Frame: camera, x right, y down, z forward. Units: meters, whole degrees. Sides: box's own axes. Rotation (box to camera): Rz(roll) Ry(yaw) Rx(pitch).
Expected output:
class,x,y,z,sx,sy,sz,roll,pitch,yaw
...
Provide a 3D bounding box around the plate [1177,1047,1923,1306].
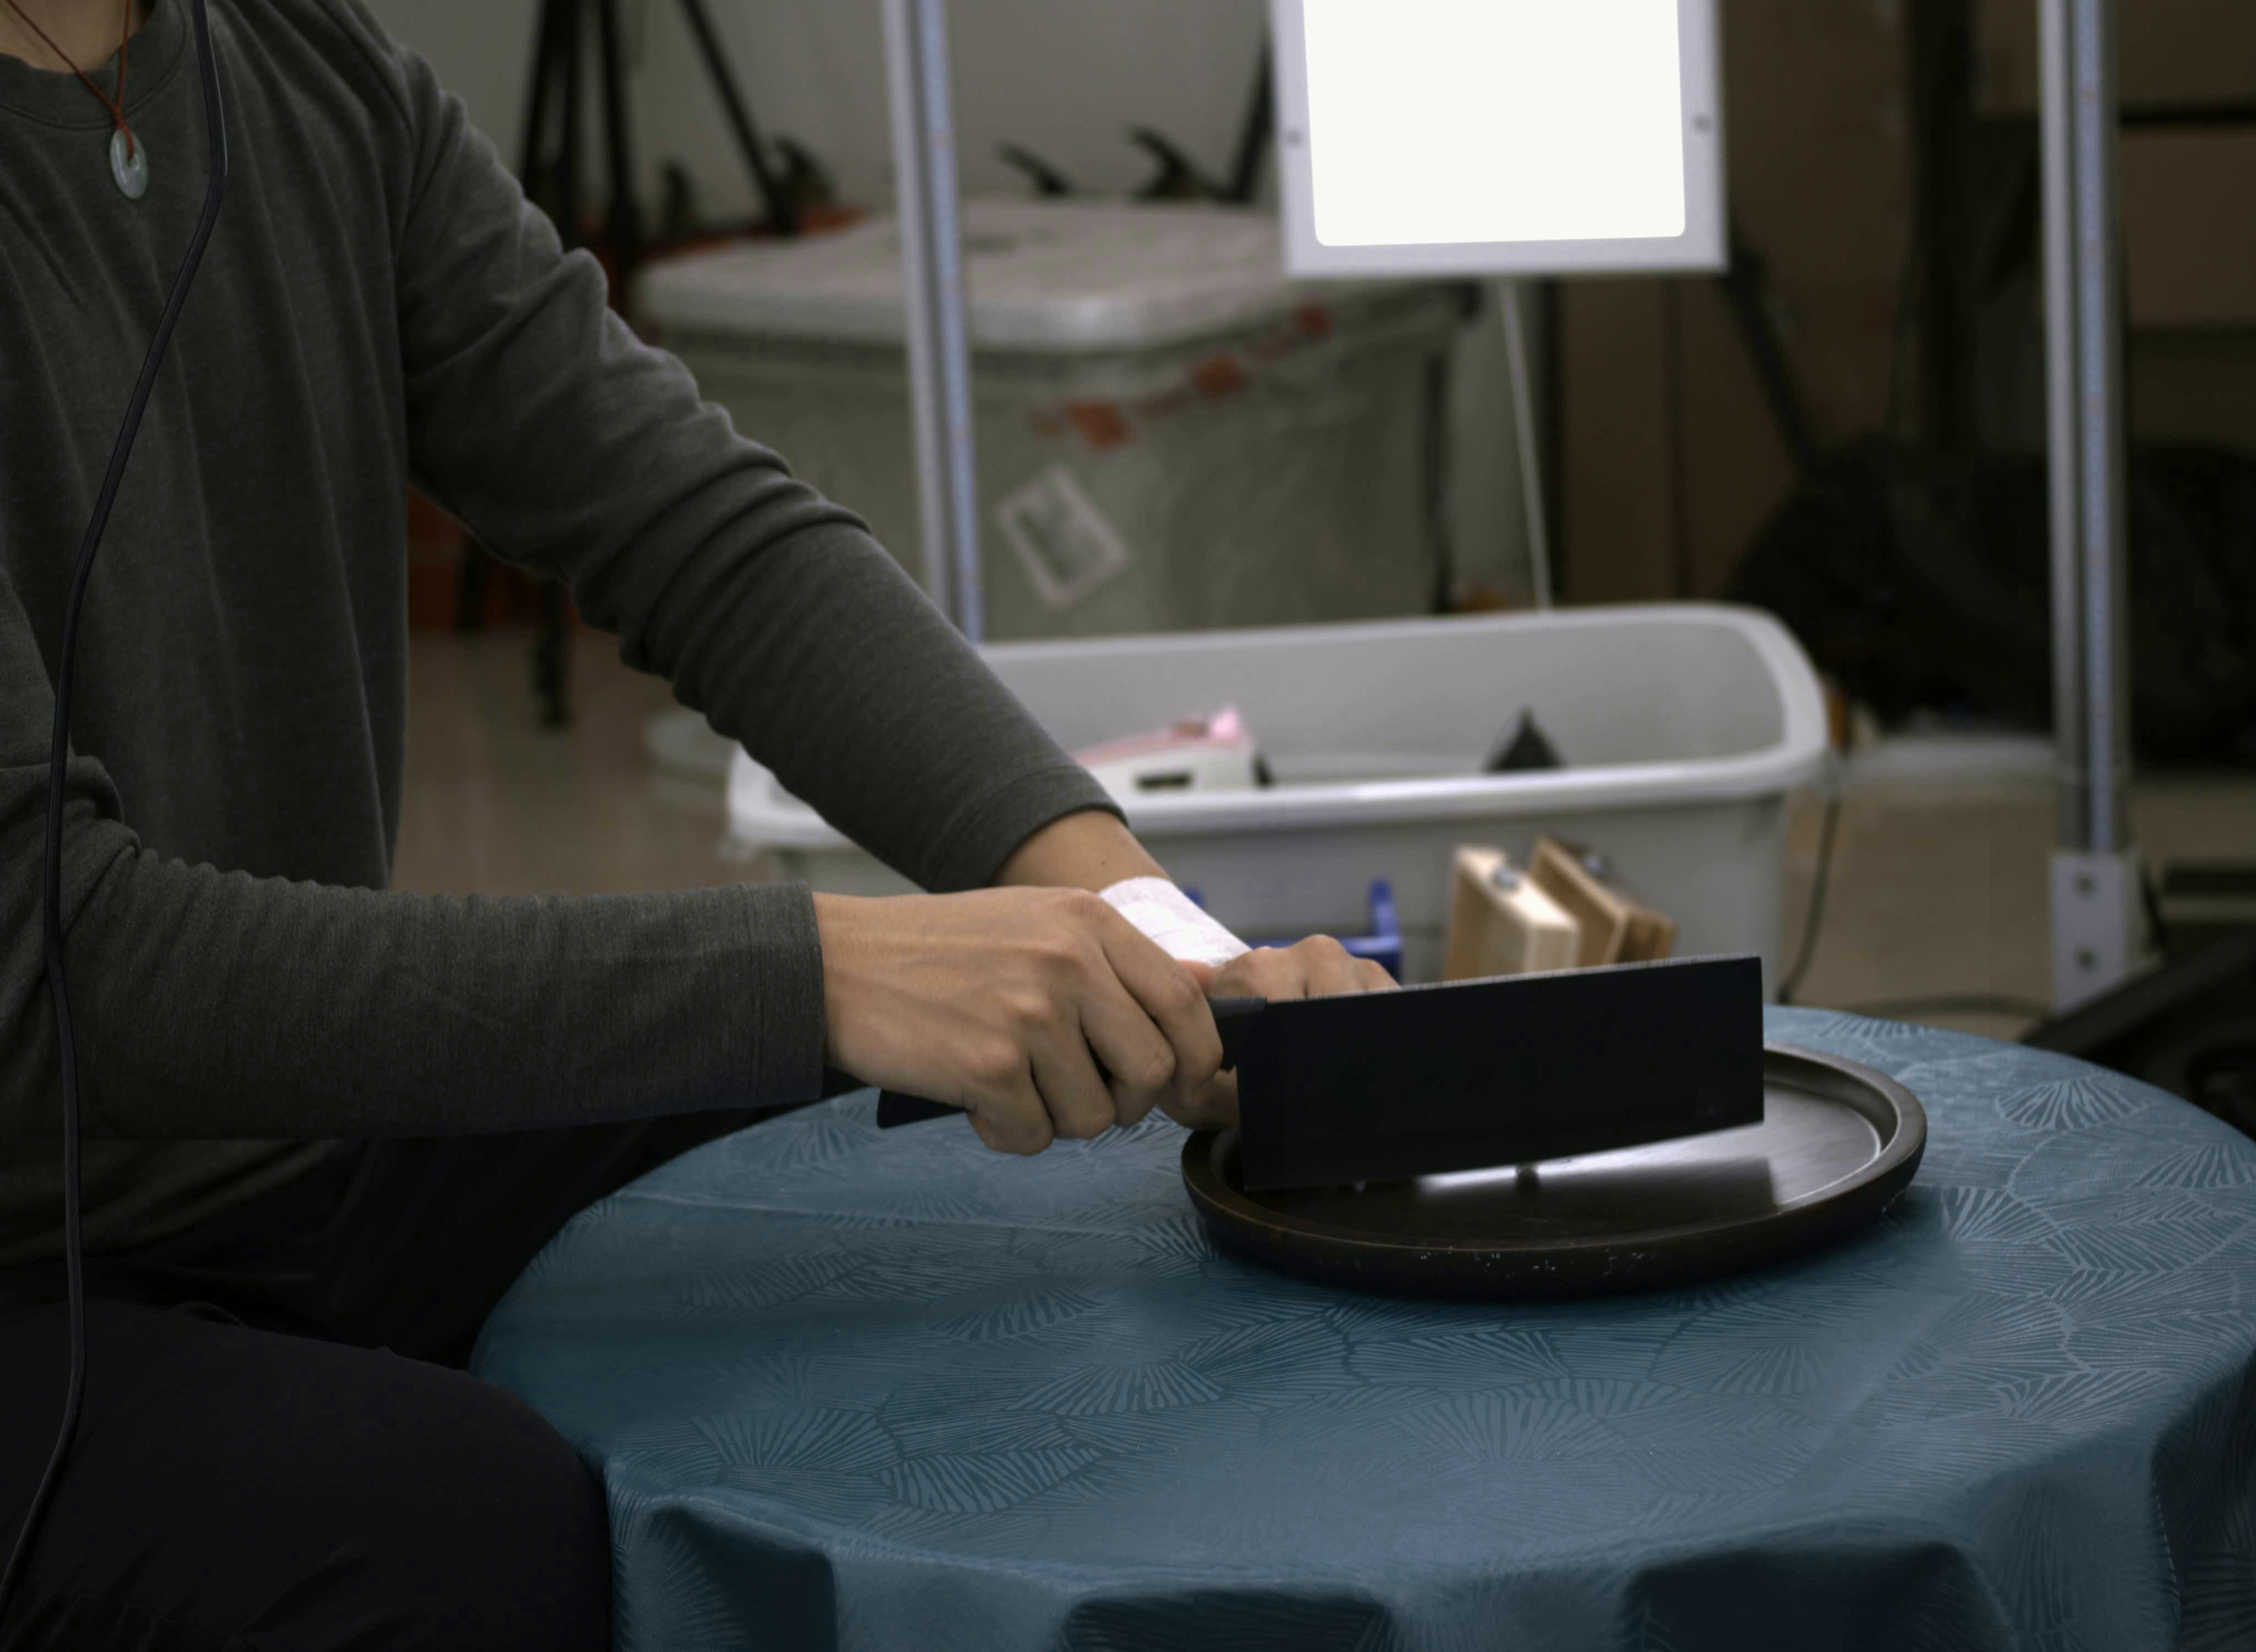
class,x,y,z,sx,sy,sz,roll,pitch,yaw
plate,0.143,0.114,1.856,0.254,0.029,0.254,-5,15,0

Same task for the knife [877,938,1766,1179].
class,x,y,z,sx,sy,sz,roll,pitch,yaw
knife,0.067,0.080,1.830,0.300,0.081,0.021,-2,14,-5
